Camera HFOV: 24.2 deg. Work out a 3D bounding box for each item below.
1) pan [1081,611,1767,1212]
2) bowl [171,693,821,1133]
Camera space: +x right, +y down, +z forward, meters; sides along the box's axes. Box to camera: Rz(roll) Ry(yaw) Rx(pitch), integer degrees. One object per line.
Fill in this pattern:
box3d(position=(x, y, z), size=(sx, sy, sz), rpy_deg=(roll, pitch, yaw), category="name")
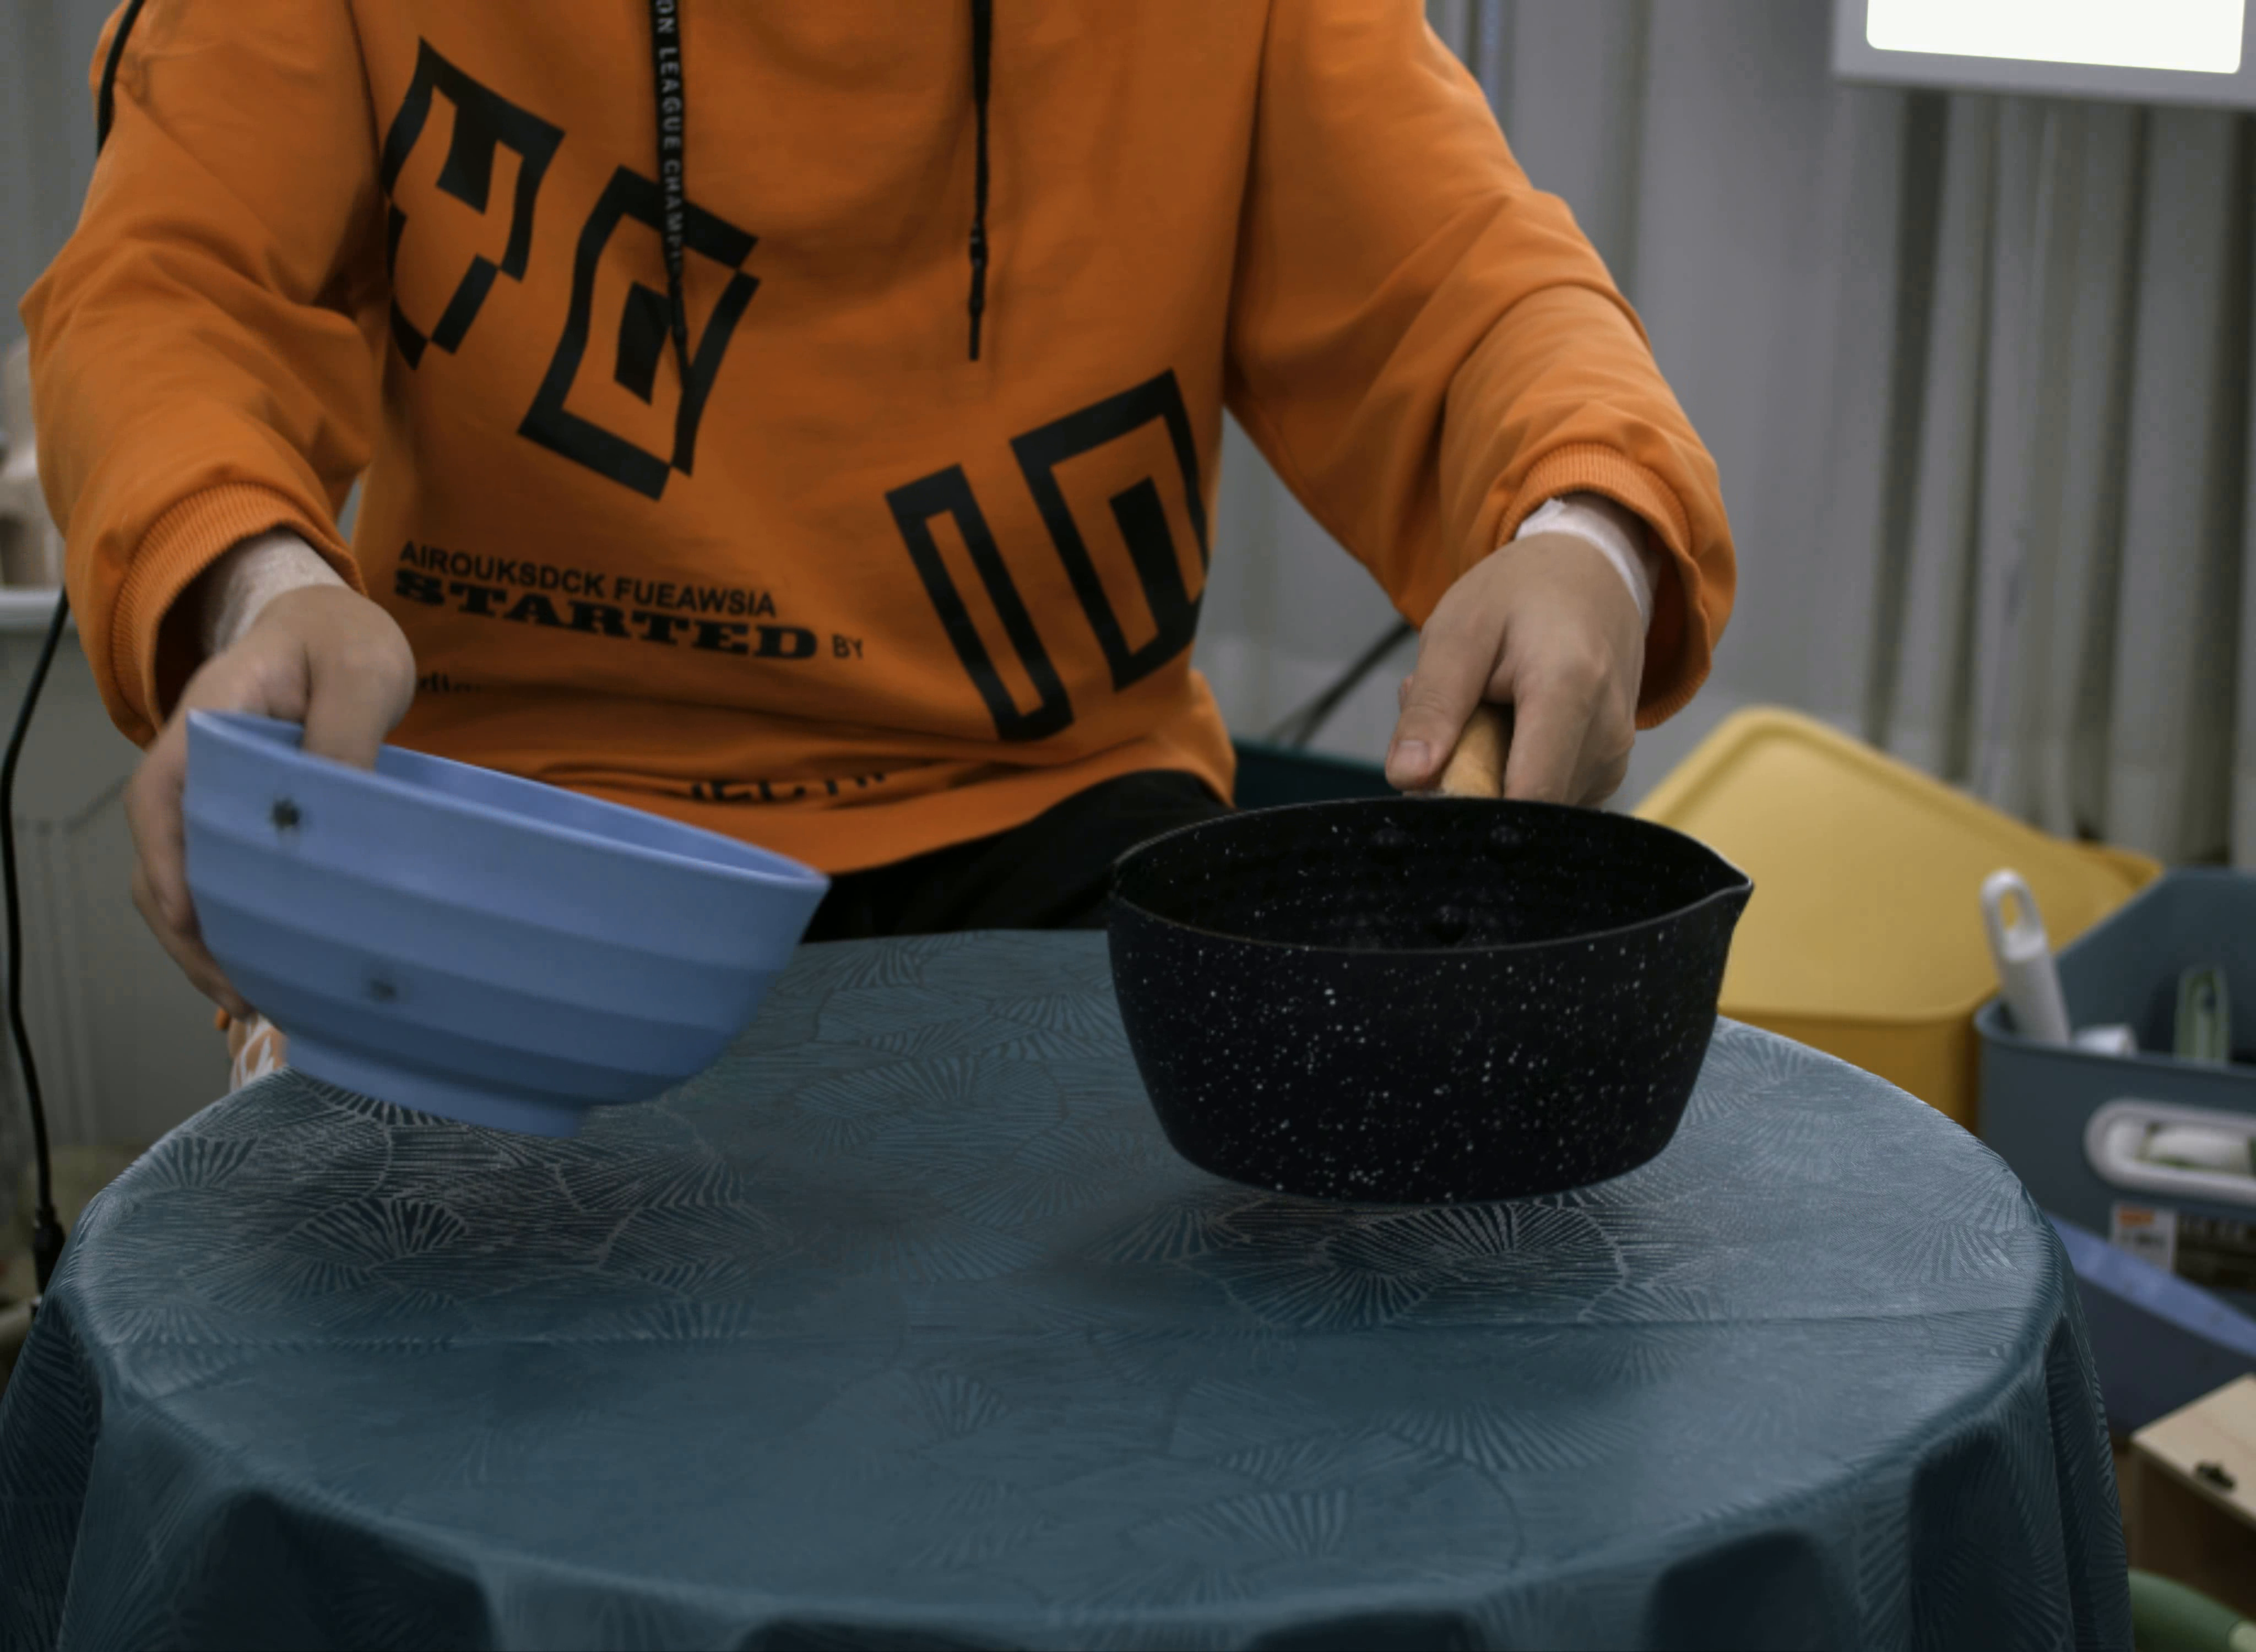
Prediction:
box3d(position=(0.098, 0.022, 1.647), size=(0.206, 0.109, 0.342), rpy_deg=(-1, 15, 8), category="pan")
box3d(position=(-0.198, 0.032, 1.557), size=(0.196, 0.096, 0.196), rpy_deg=(17, 1, 0), category="bowl")
